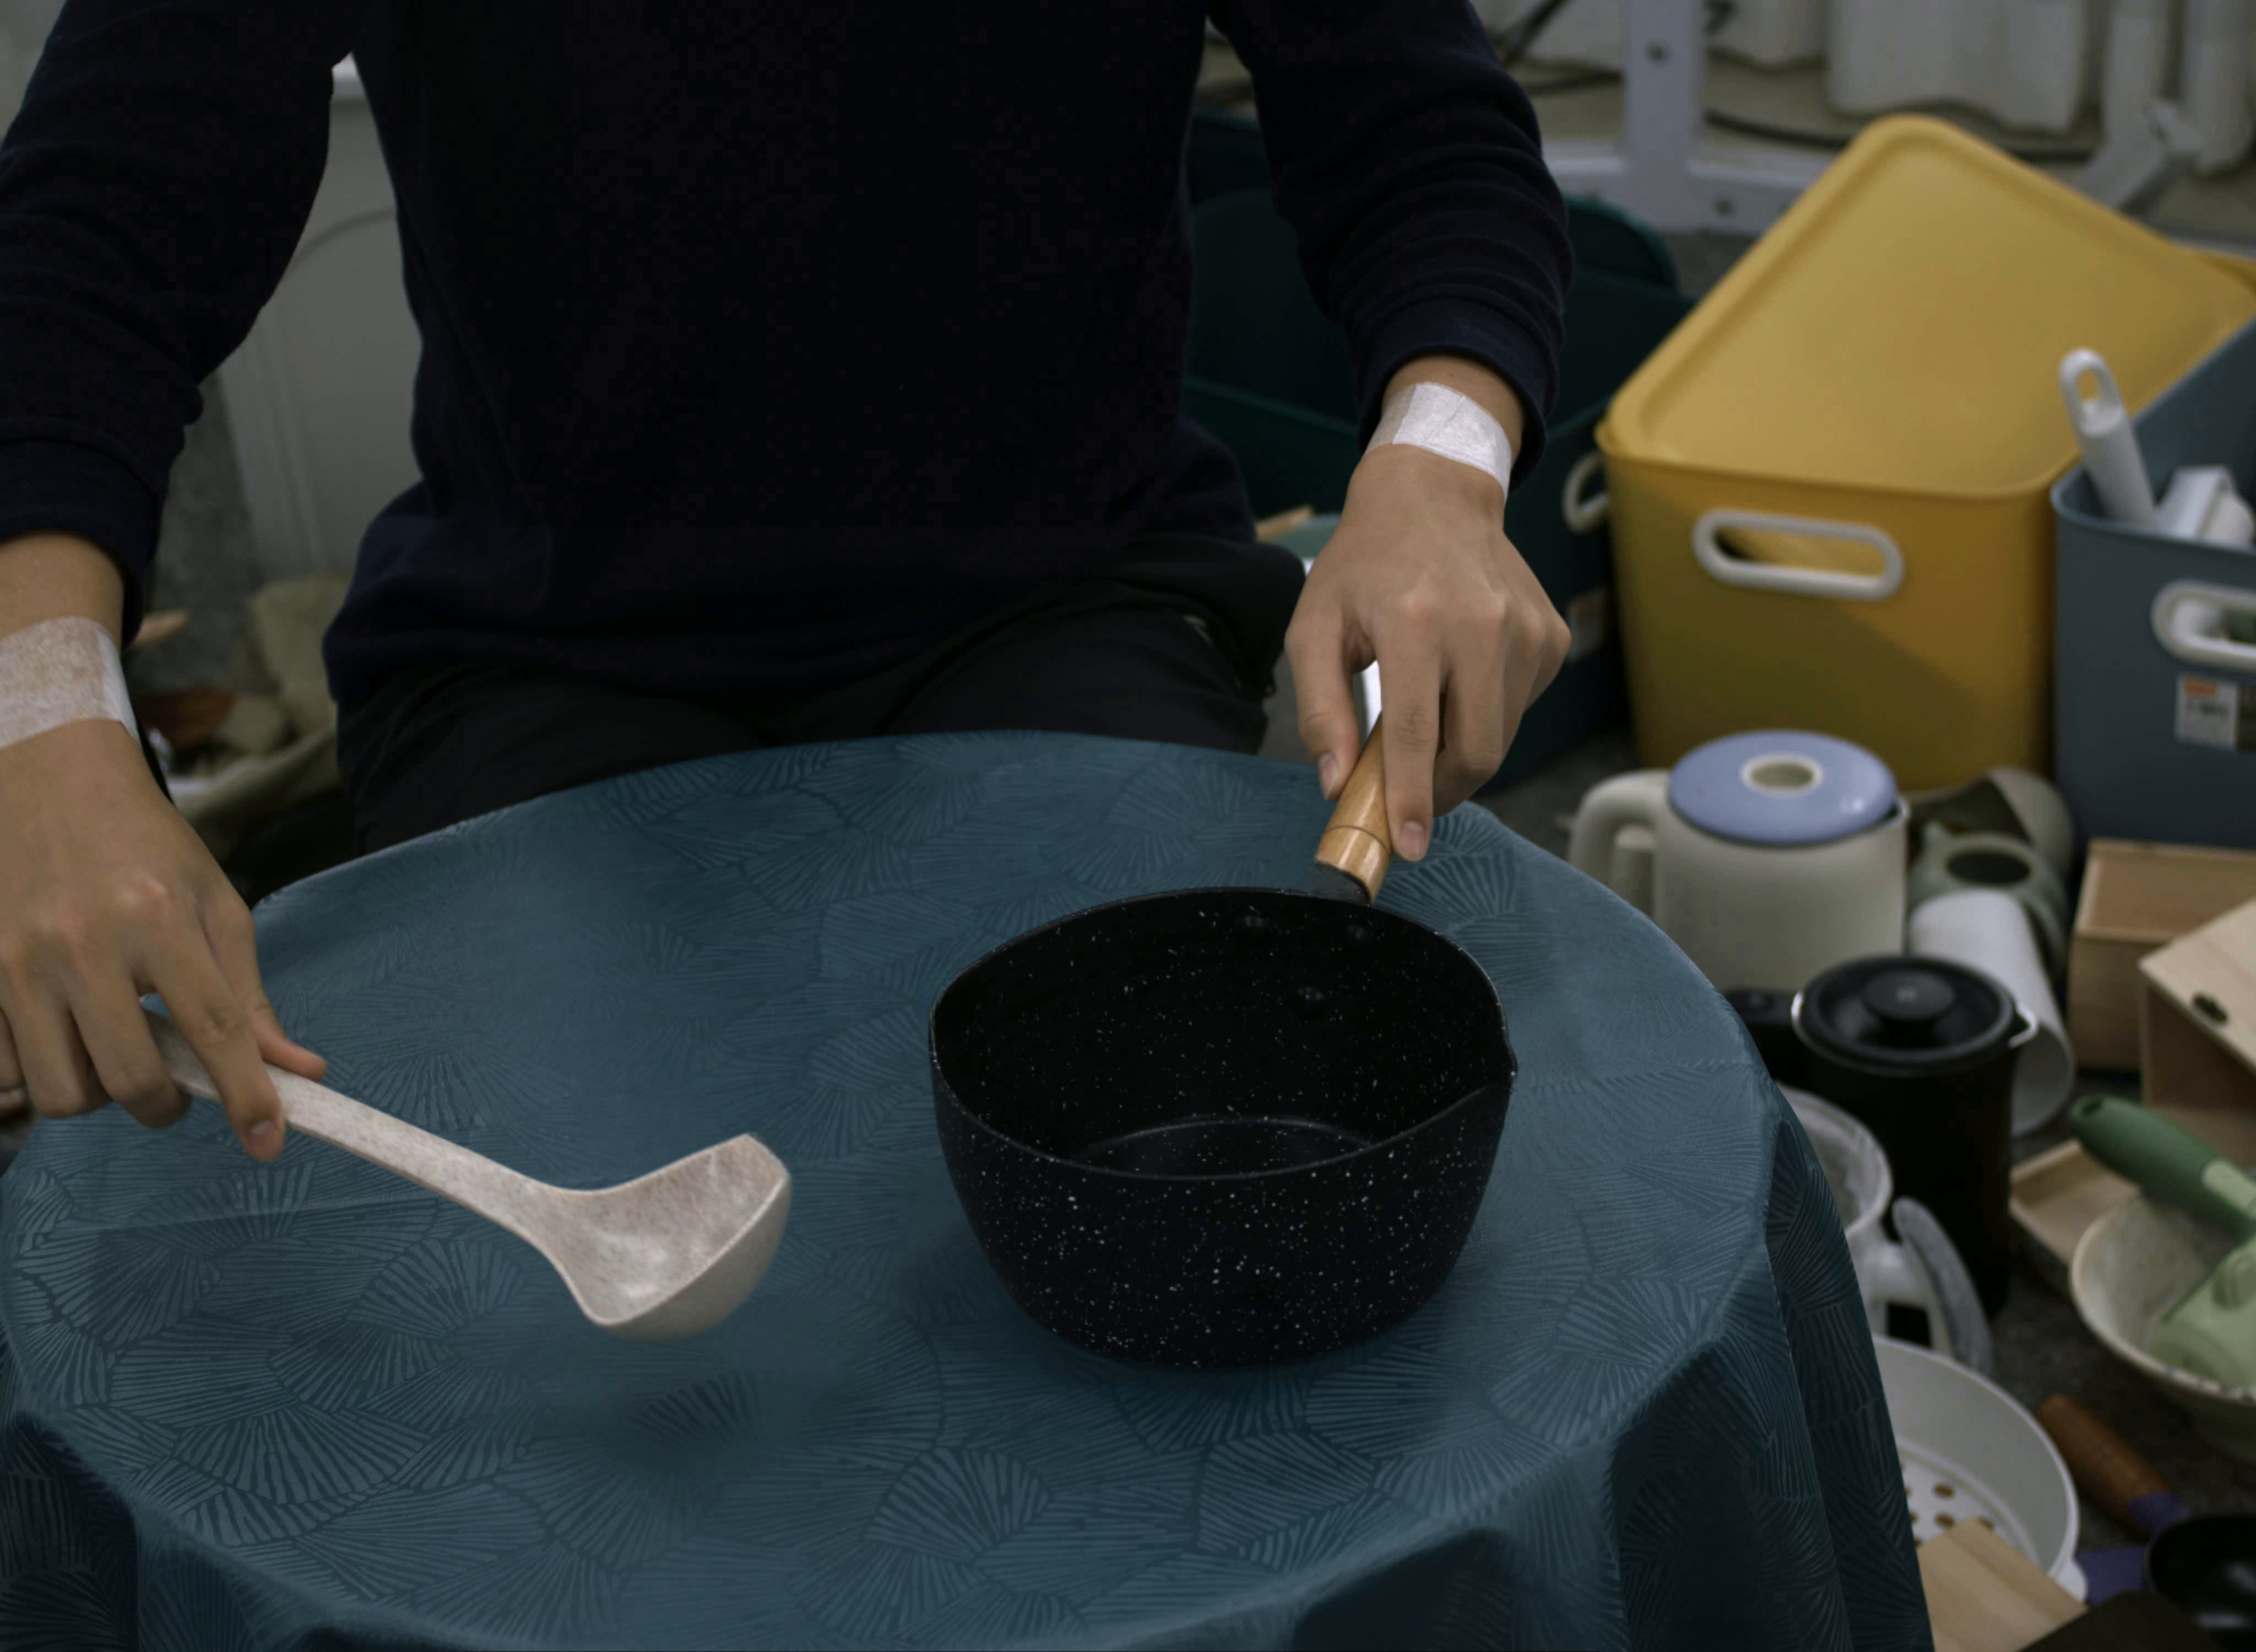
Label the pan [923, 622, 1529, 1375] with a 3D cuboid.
[{"bbox_3d":[0.056,0.053,1.872,0.206,0.107,0.349,6,30,19],"label":"pan"}]

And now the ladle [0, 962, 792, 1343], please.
[{"bbox_3d":[-0.236,0.082,1.746,0.274,0.068,0.091,24,45,5],"label":"ladle"}]
